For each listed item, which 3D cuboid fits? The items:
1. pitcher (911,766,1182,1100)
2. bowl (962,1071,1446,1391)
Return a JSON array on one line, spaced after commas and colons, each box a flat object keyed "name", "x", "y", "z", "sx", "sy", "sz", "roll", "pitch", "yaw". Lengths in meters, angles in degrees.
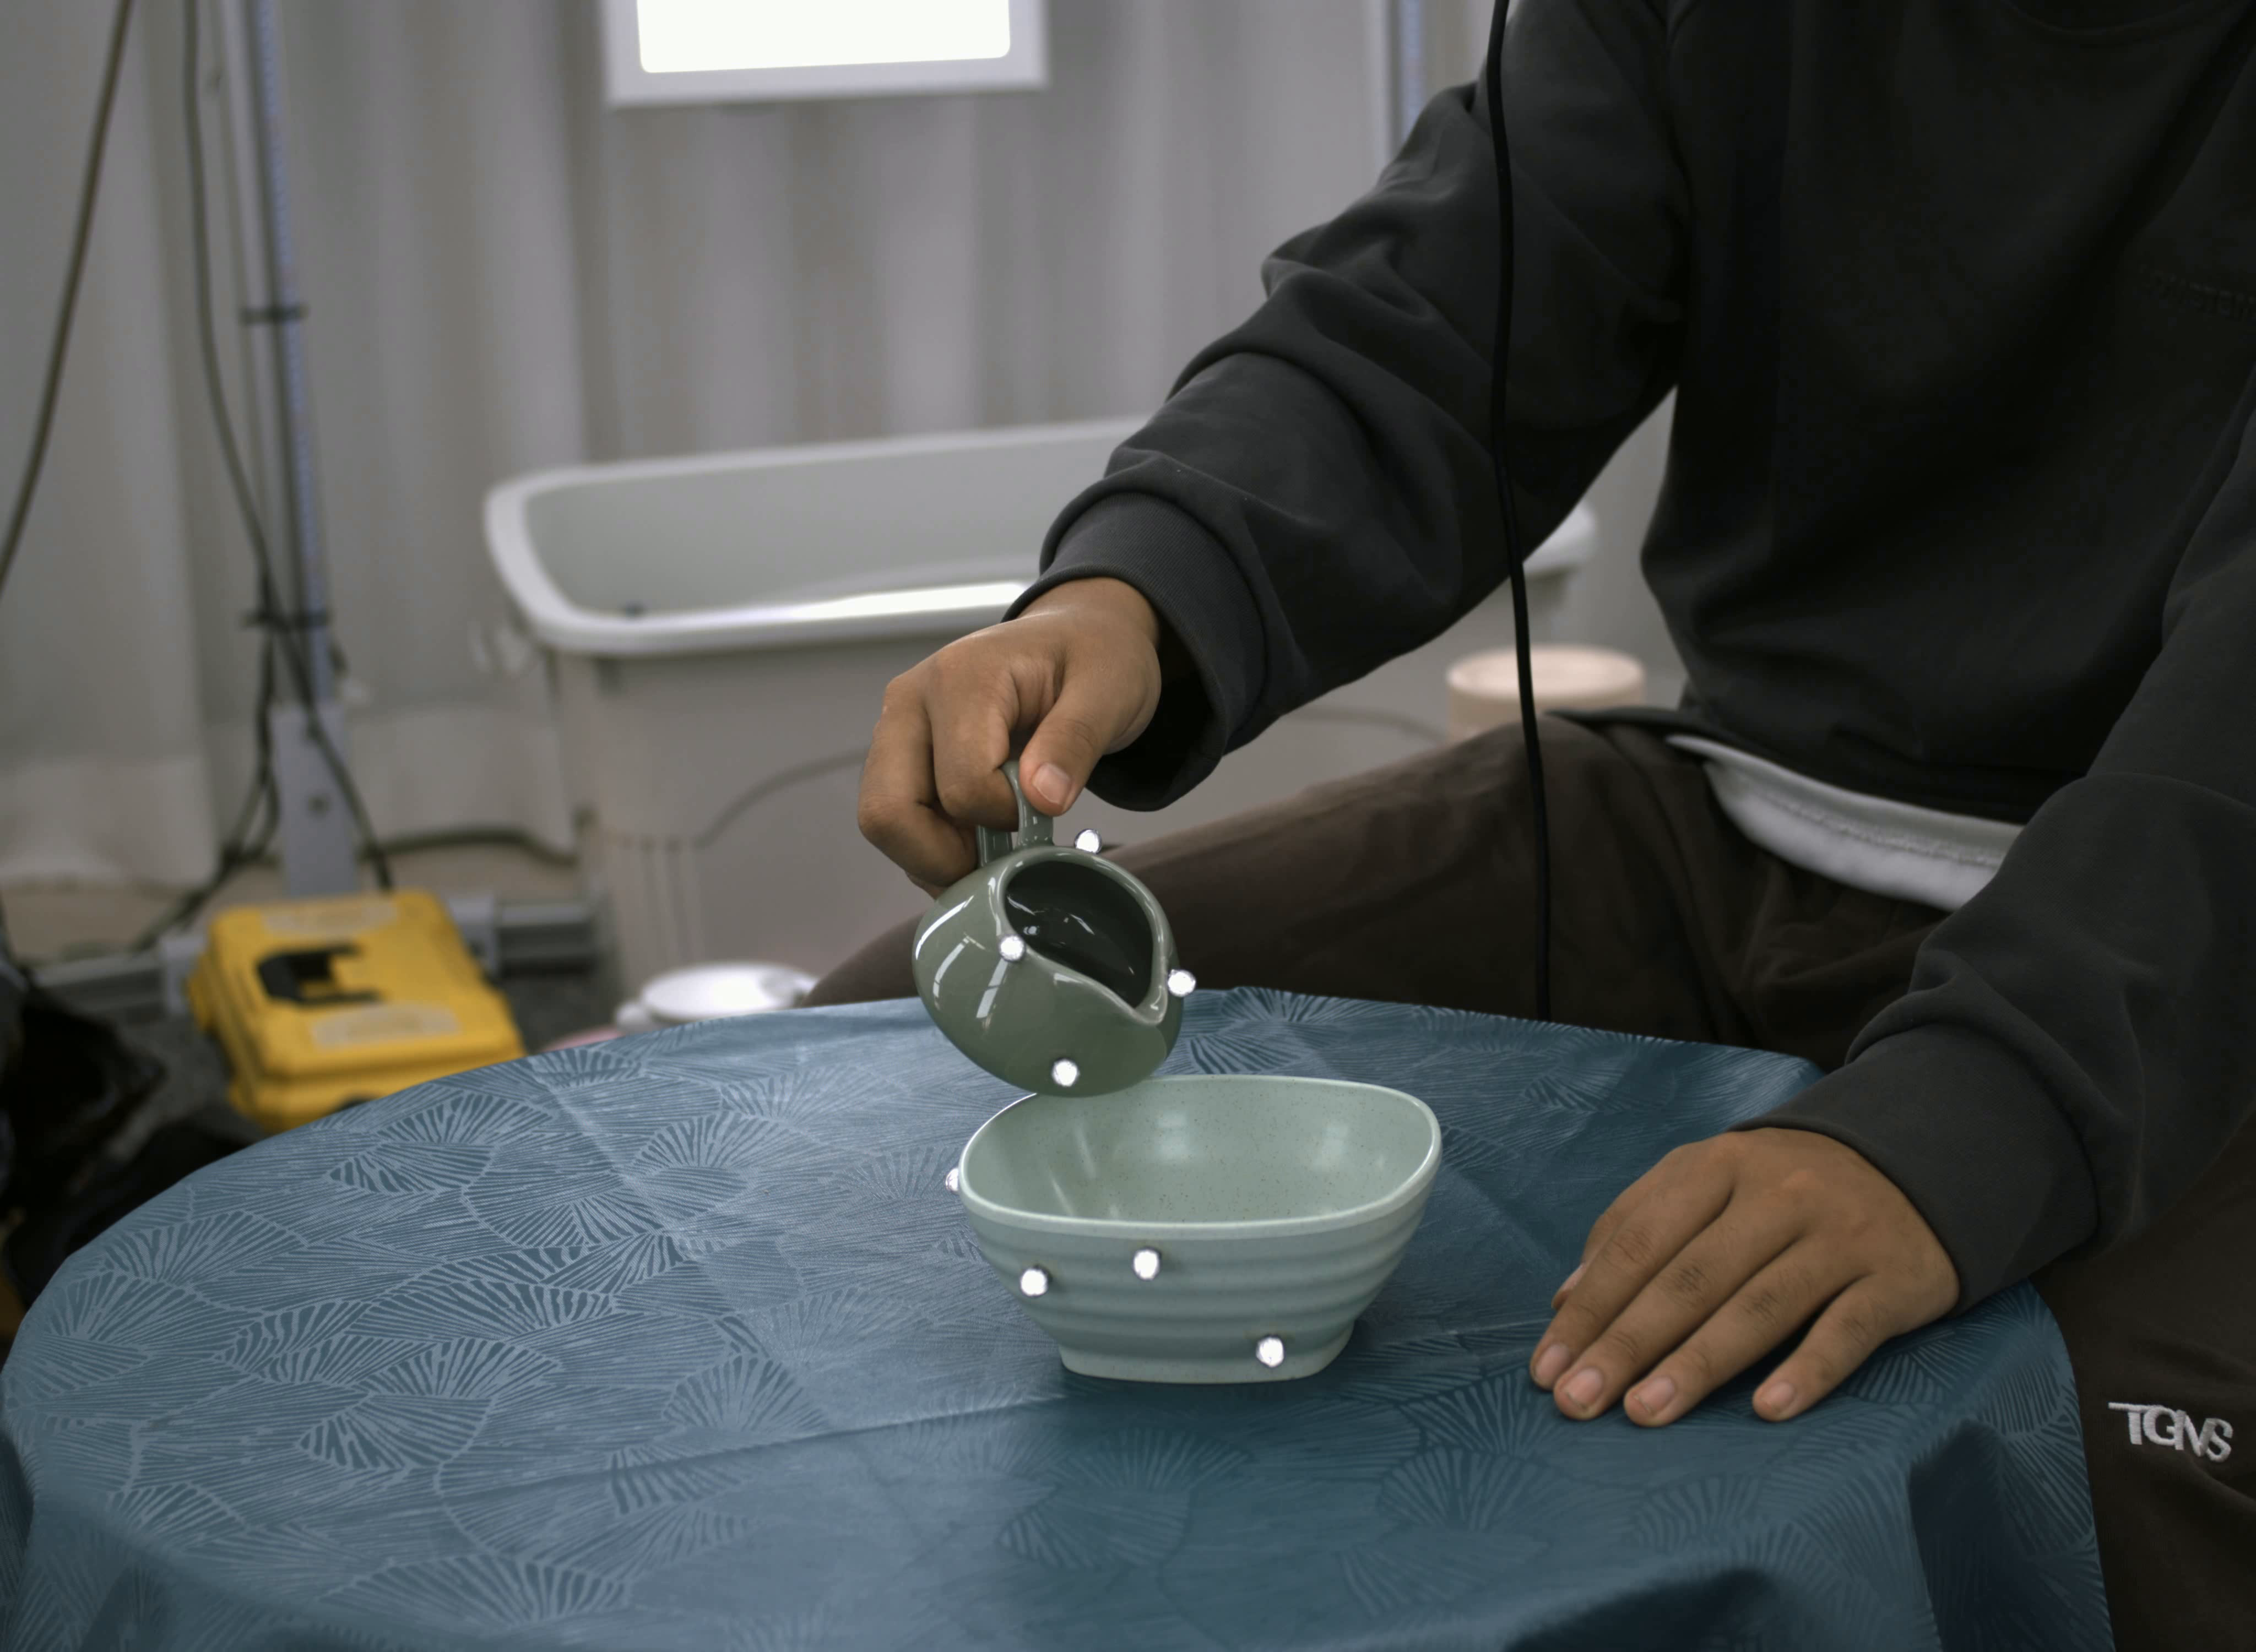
[{"name": "pitcher", "x": -0.024, "y": 0.035, "z": 1.627, "sx": 0.084, "sy": 0.055, "sz": 0.114, "roll": -4, "pitch": 46, "yaw": -33}, {"name": "bowl", "x": 0.023, "y": 0.121, "z": 1.584, "sx": 0.151, "sy": 0.058, "sz": 0.152, "roll": -3, "pitch": 16, "yaw": 1}]
